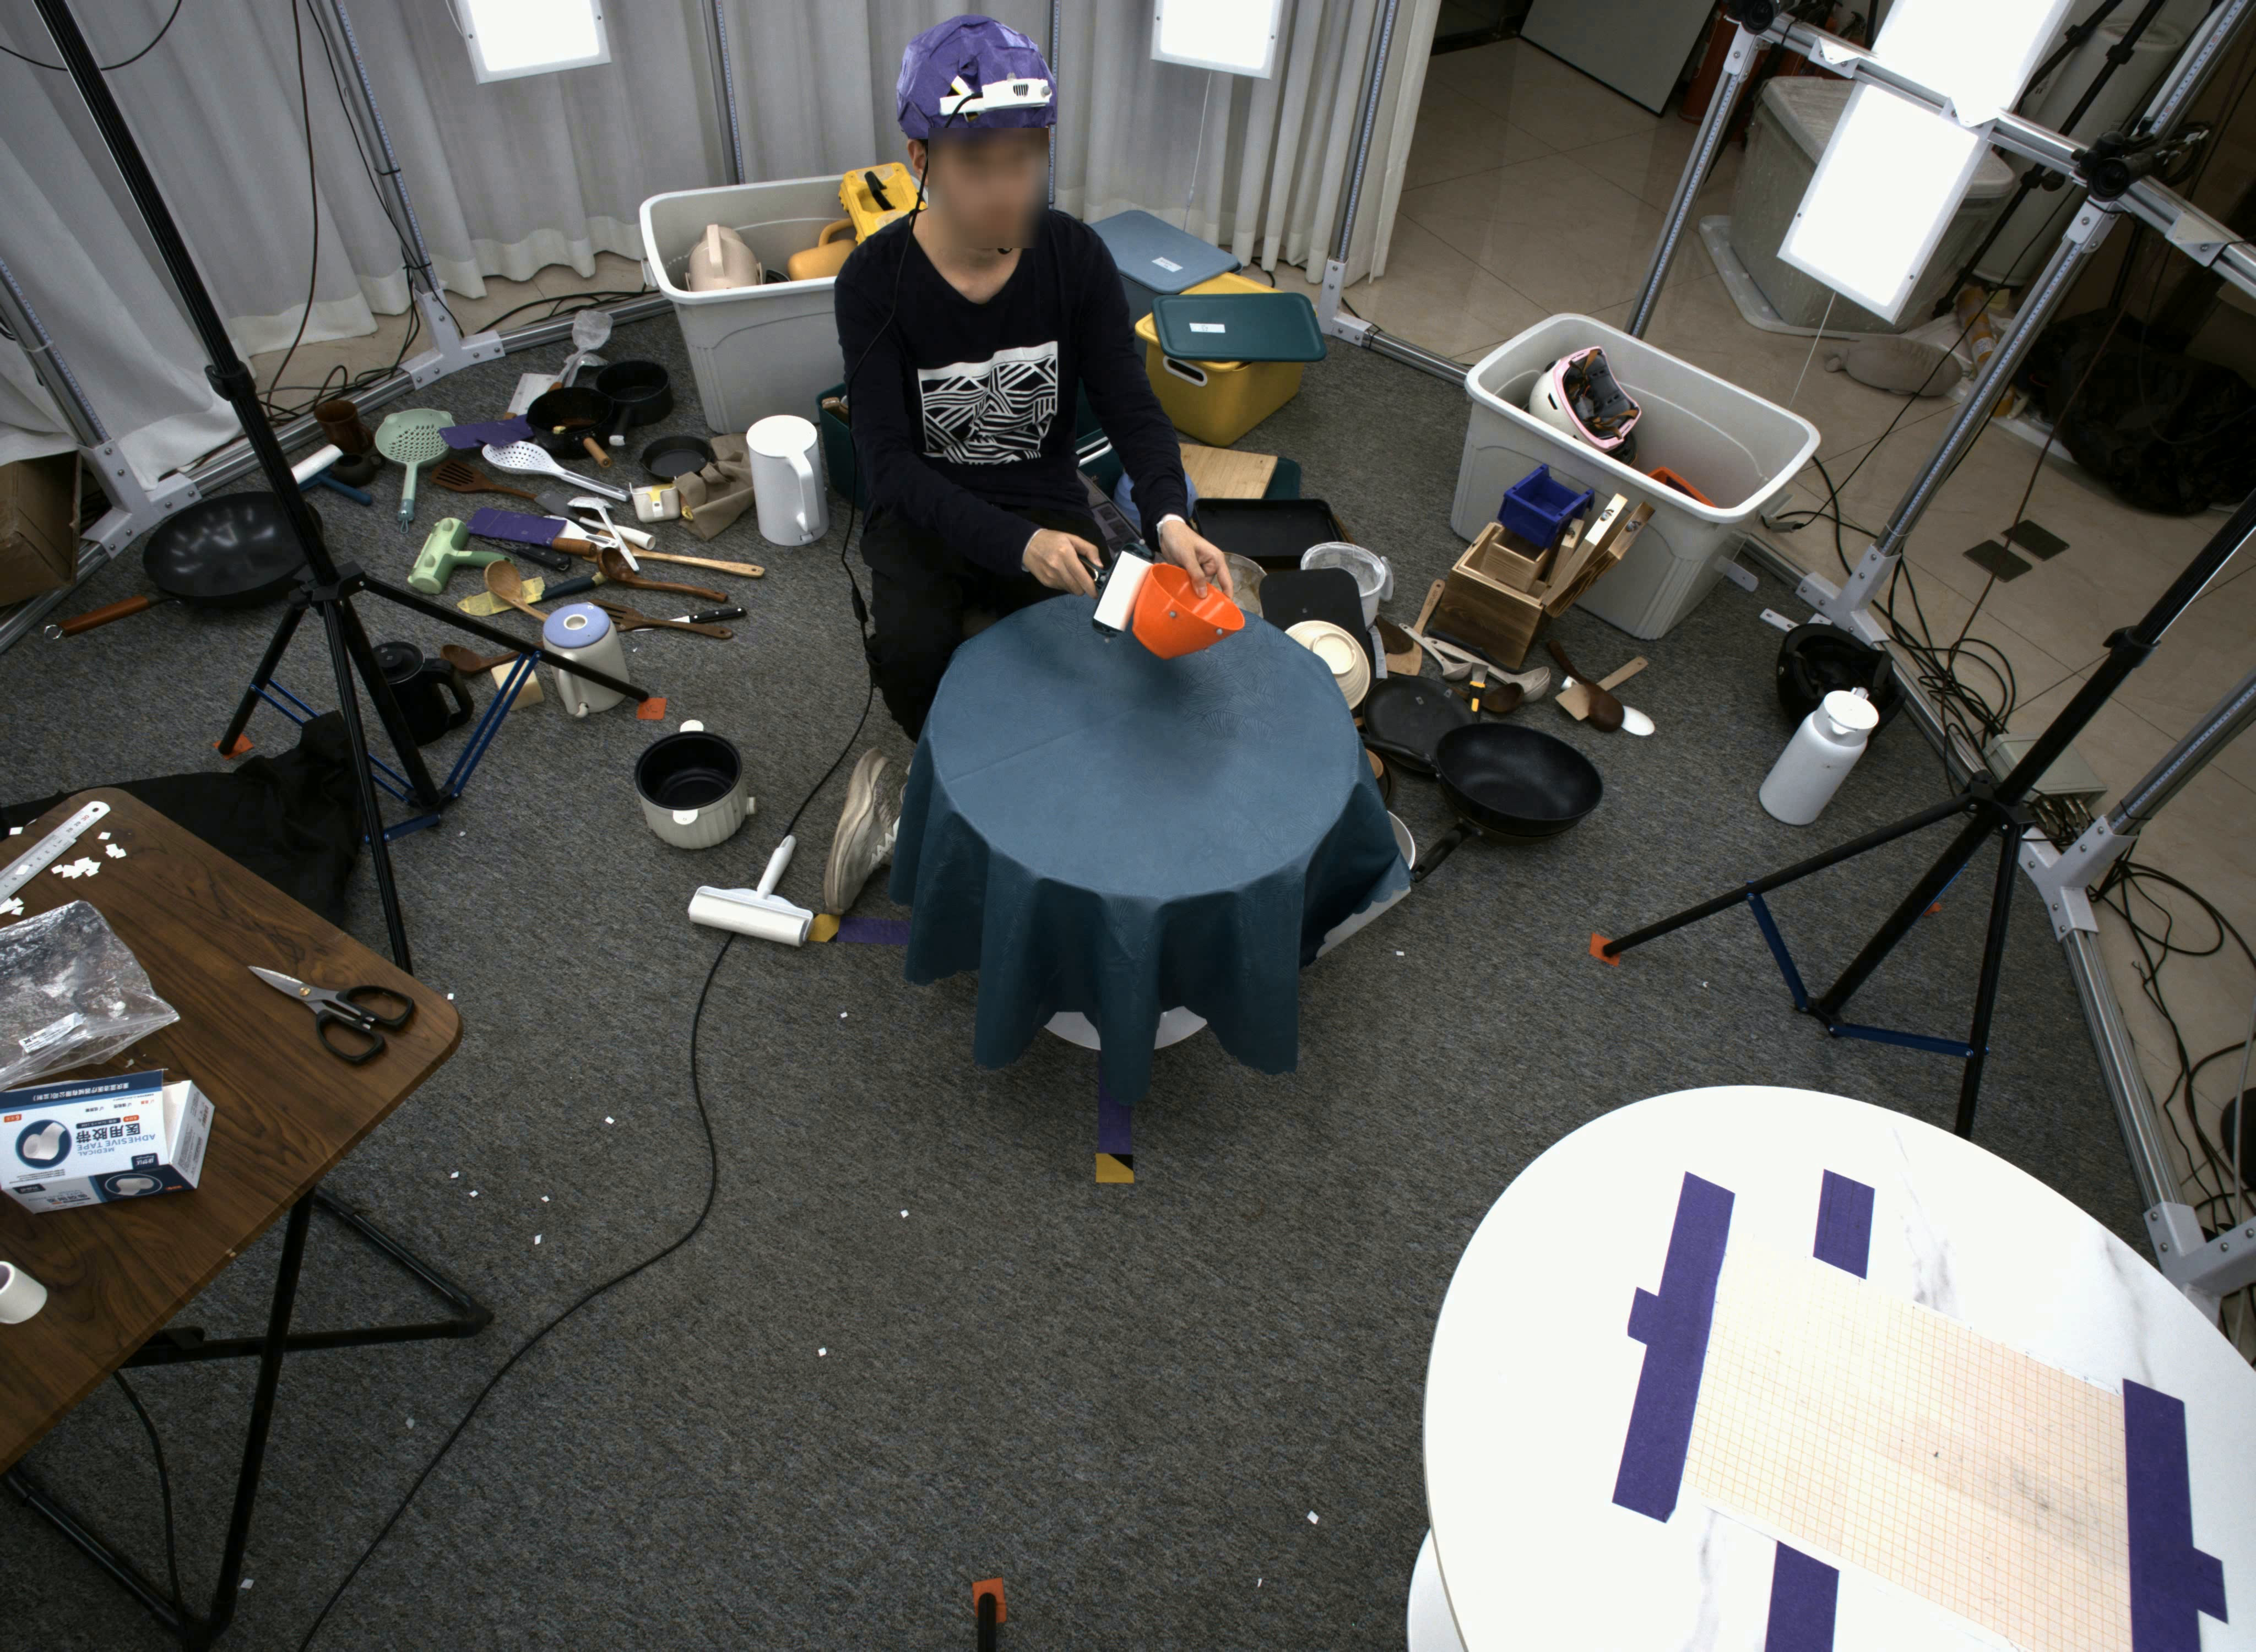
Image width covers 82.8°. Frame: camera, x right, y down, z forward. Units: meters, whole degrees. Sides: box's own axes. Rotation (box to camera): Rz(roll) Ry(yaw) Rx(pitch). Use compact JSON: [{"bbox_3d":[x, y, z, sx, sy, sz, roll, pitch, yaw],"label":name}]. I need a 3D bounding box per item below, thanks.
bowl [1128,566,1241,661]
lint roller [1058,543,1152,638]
[{"bbox_3d":[0.066,-0.280,1.751,0.146,0.103,0.151,35,21,-15],"label":"bowl"},{"bbox_3d":[-0.052,-0.350,1.802,0.183,0.133,0.048,32,12,38],"label":"lint roller"}]
